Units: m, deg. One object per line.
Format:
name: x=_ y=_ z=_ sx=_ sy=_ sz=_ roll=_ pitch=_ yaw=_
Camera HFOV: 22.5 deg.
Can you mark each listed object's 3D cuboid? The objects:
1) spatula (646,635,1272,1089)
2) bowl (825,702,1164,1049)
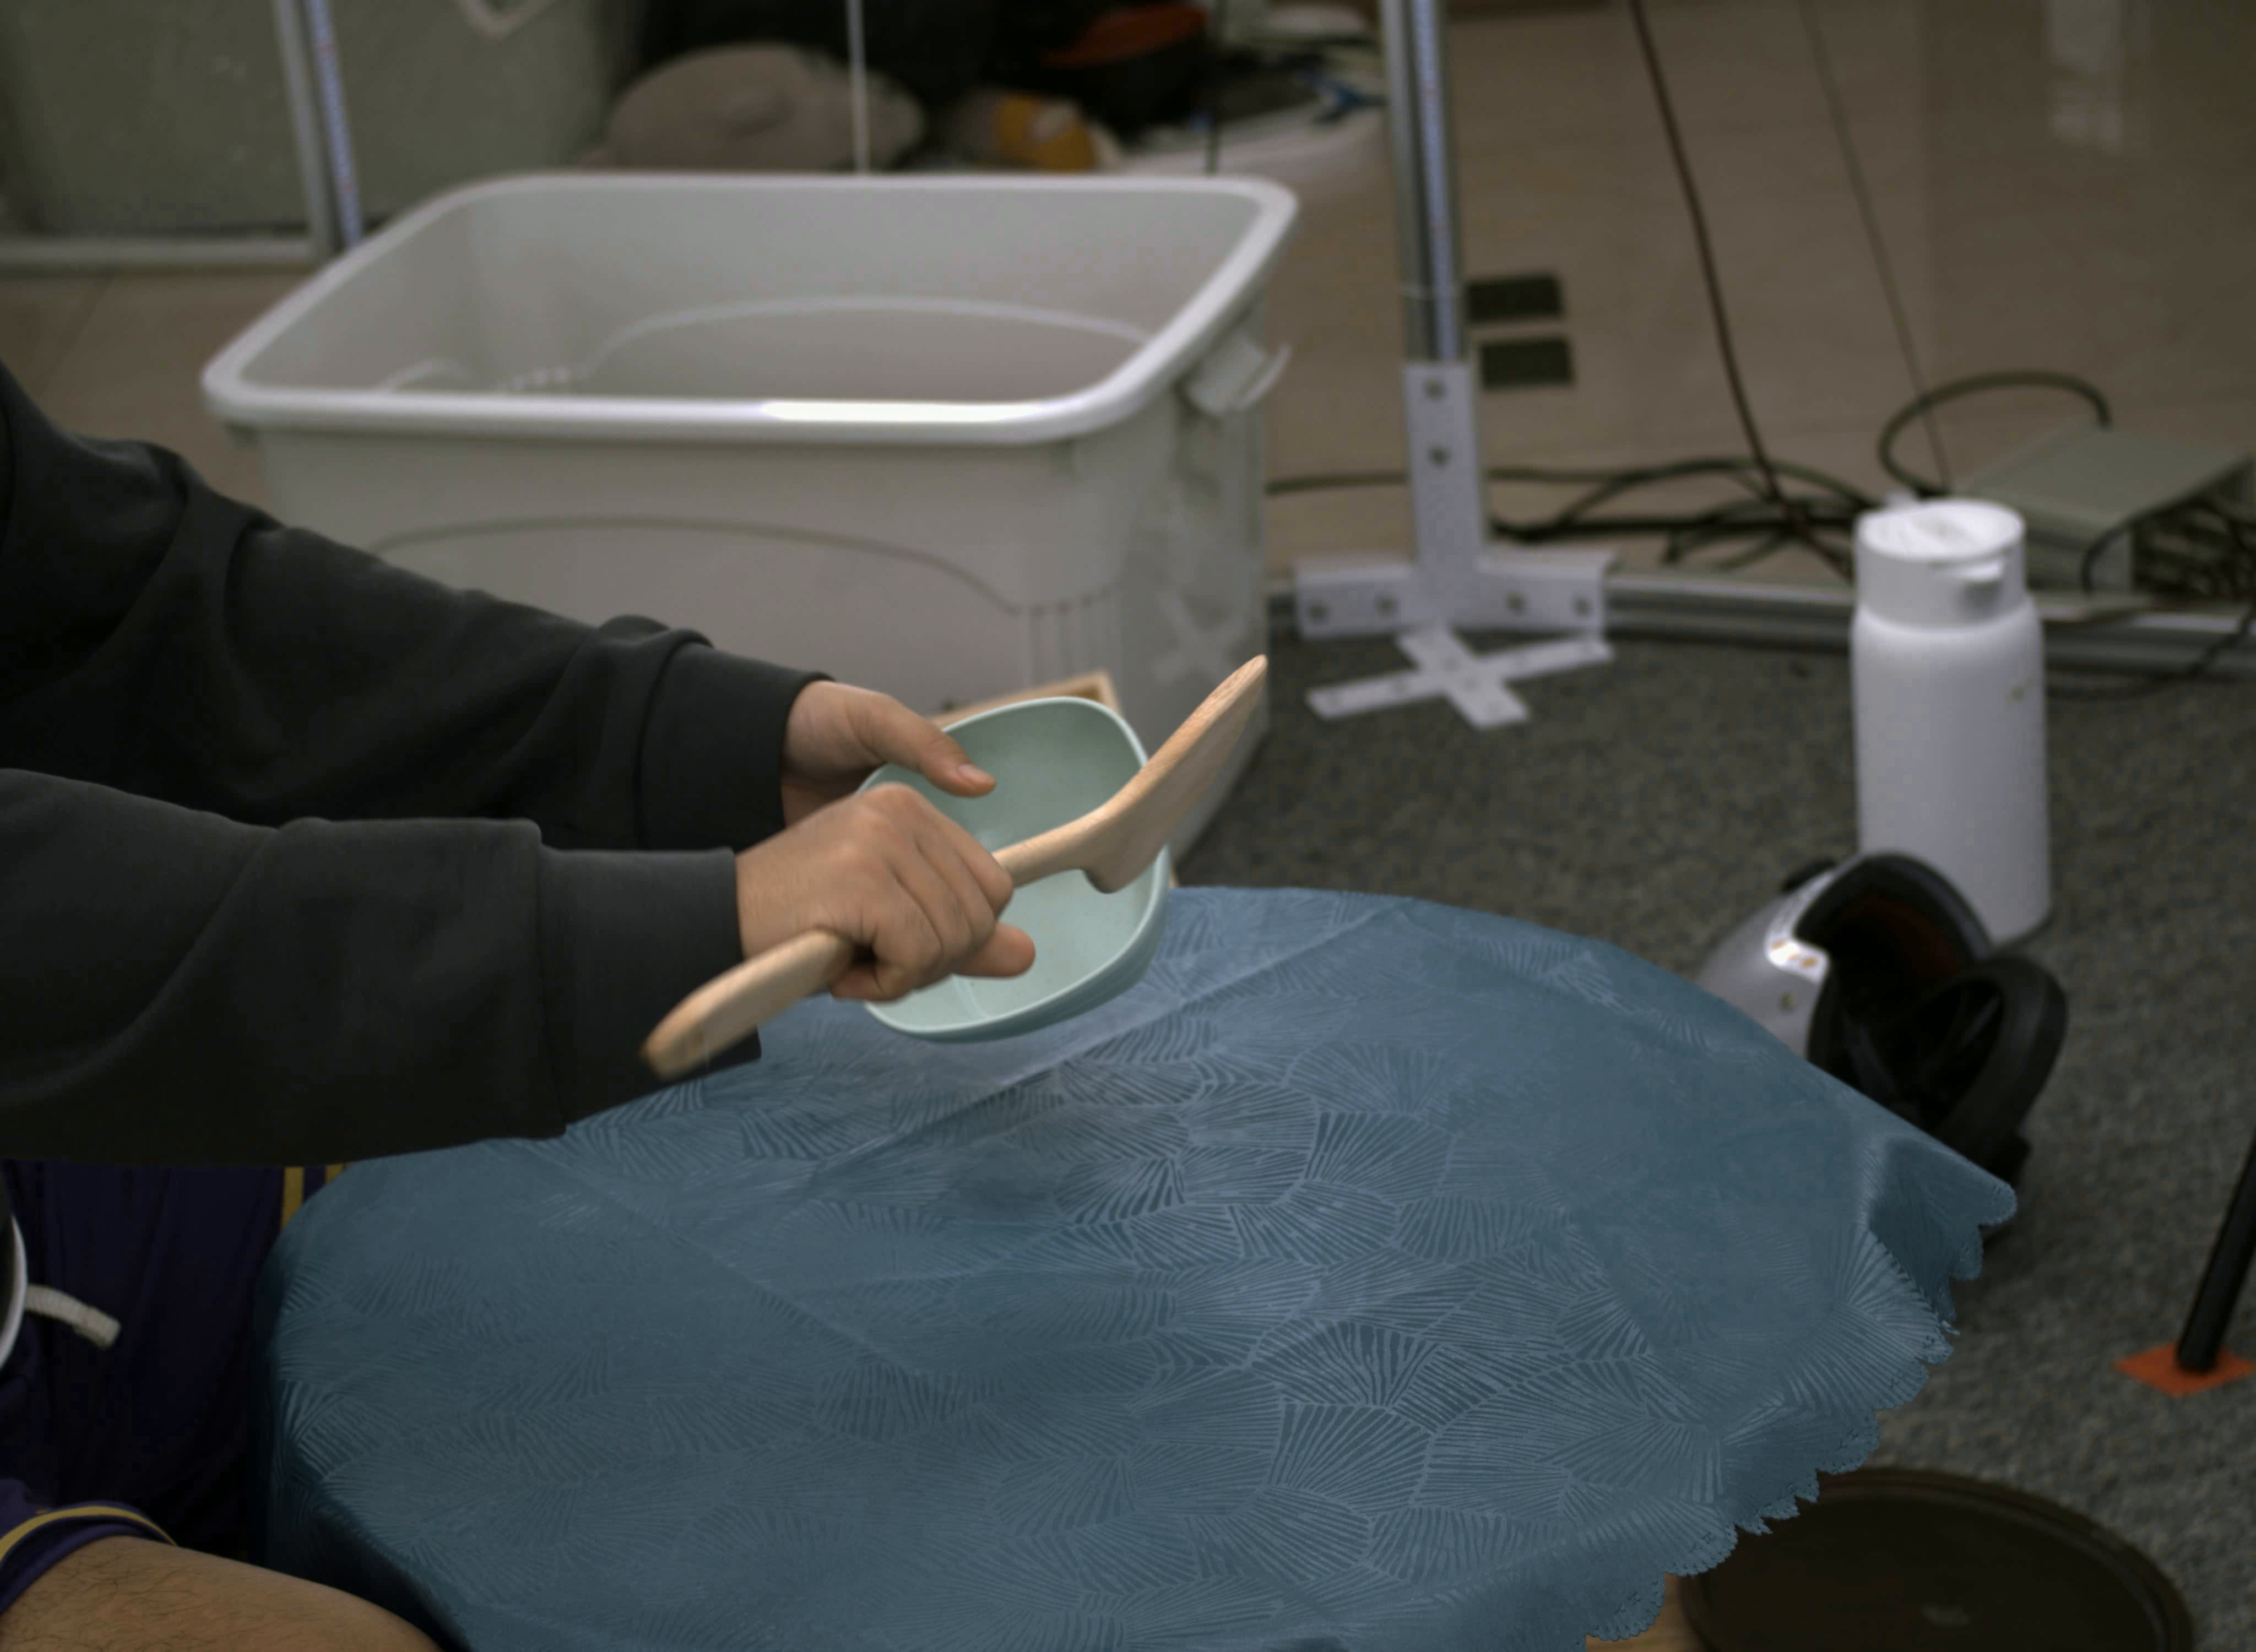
spatula: x=-0.050 y=0.018 z=1.898 sx=0.018 sy=0.097 sz=0.387 roll=36 pitch=30 yaw=17
bowl: x=-0.042 y=0.029 z=2.184 sx=0.151 sy=0.059 sz=0.149 roll=-12 pitch=59 yaw=21
